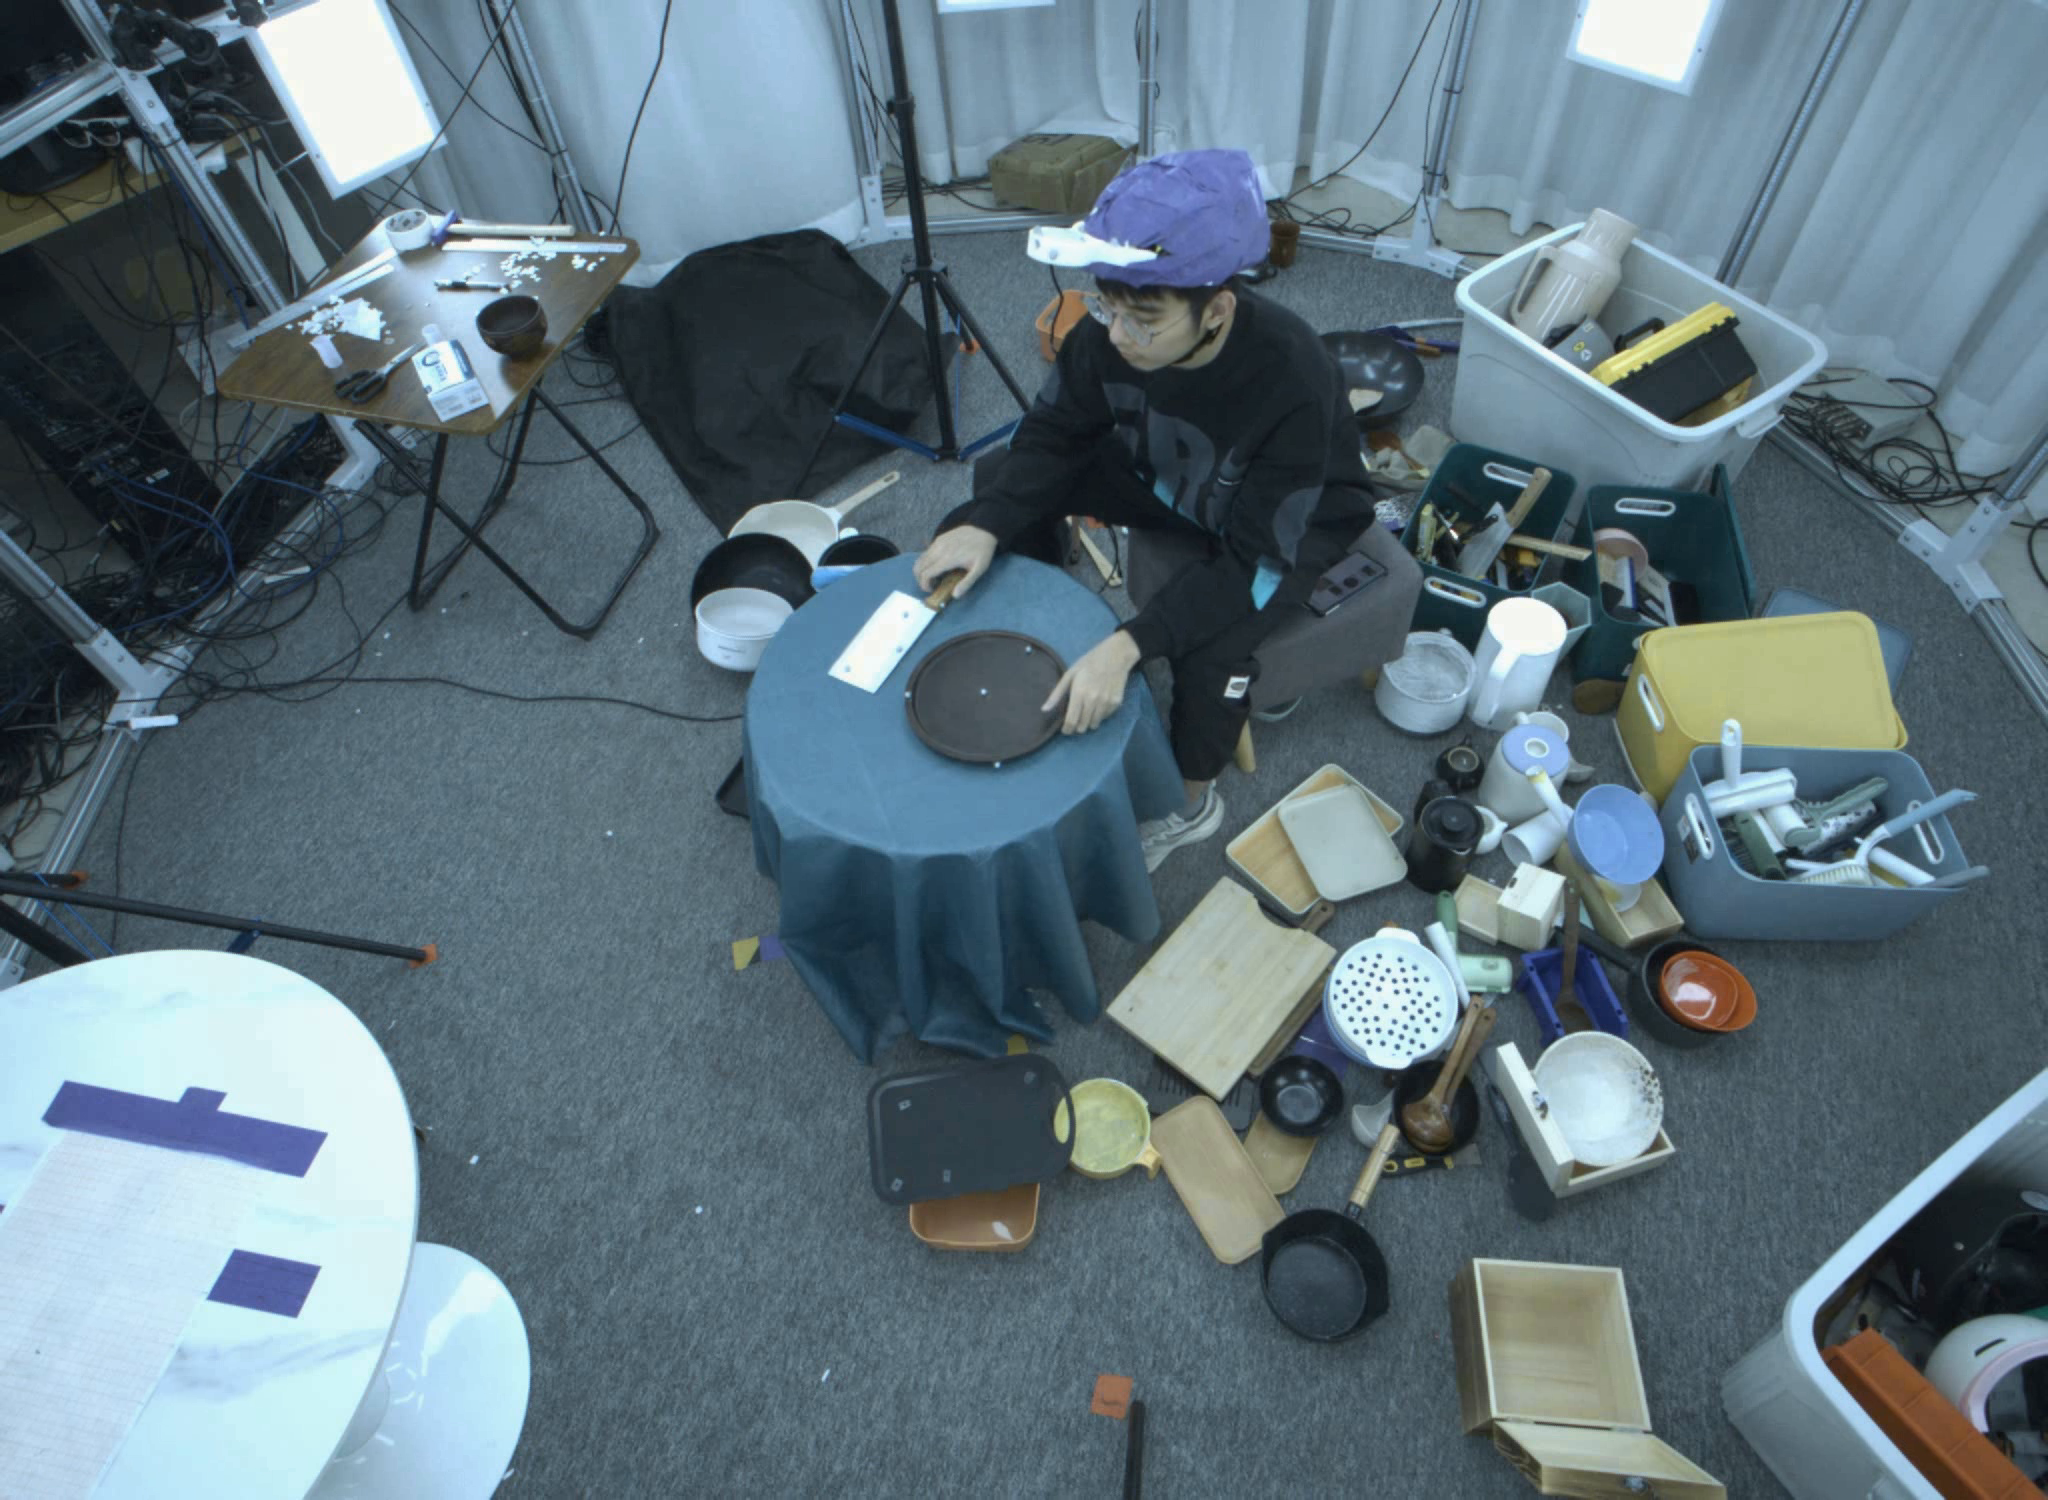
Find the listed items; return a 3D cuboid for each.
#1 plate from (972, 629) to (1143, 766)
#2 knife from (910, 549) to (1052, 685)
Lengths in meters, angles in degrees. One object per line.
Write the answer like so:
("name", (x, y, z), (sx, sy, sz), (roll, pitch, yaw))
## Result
("plate", (0.050, -0.080, 1.826), (0.254, 0.029, 0.252), (-1, 54, 3))
("knife", (-0.071, -0.221, 1.937), (0.091, 0.021, 0.307), (28, 63, 22))
